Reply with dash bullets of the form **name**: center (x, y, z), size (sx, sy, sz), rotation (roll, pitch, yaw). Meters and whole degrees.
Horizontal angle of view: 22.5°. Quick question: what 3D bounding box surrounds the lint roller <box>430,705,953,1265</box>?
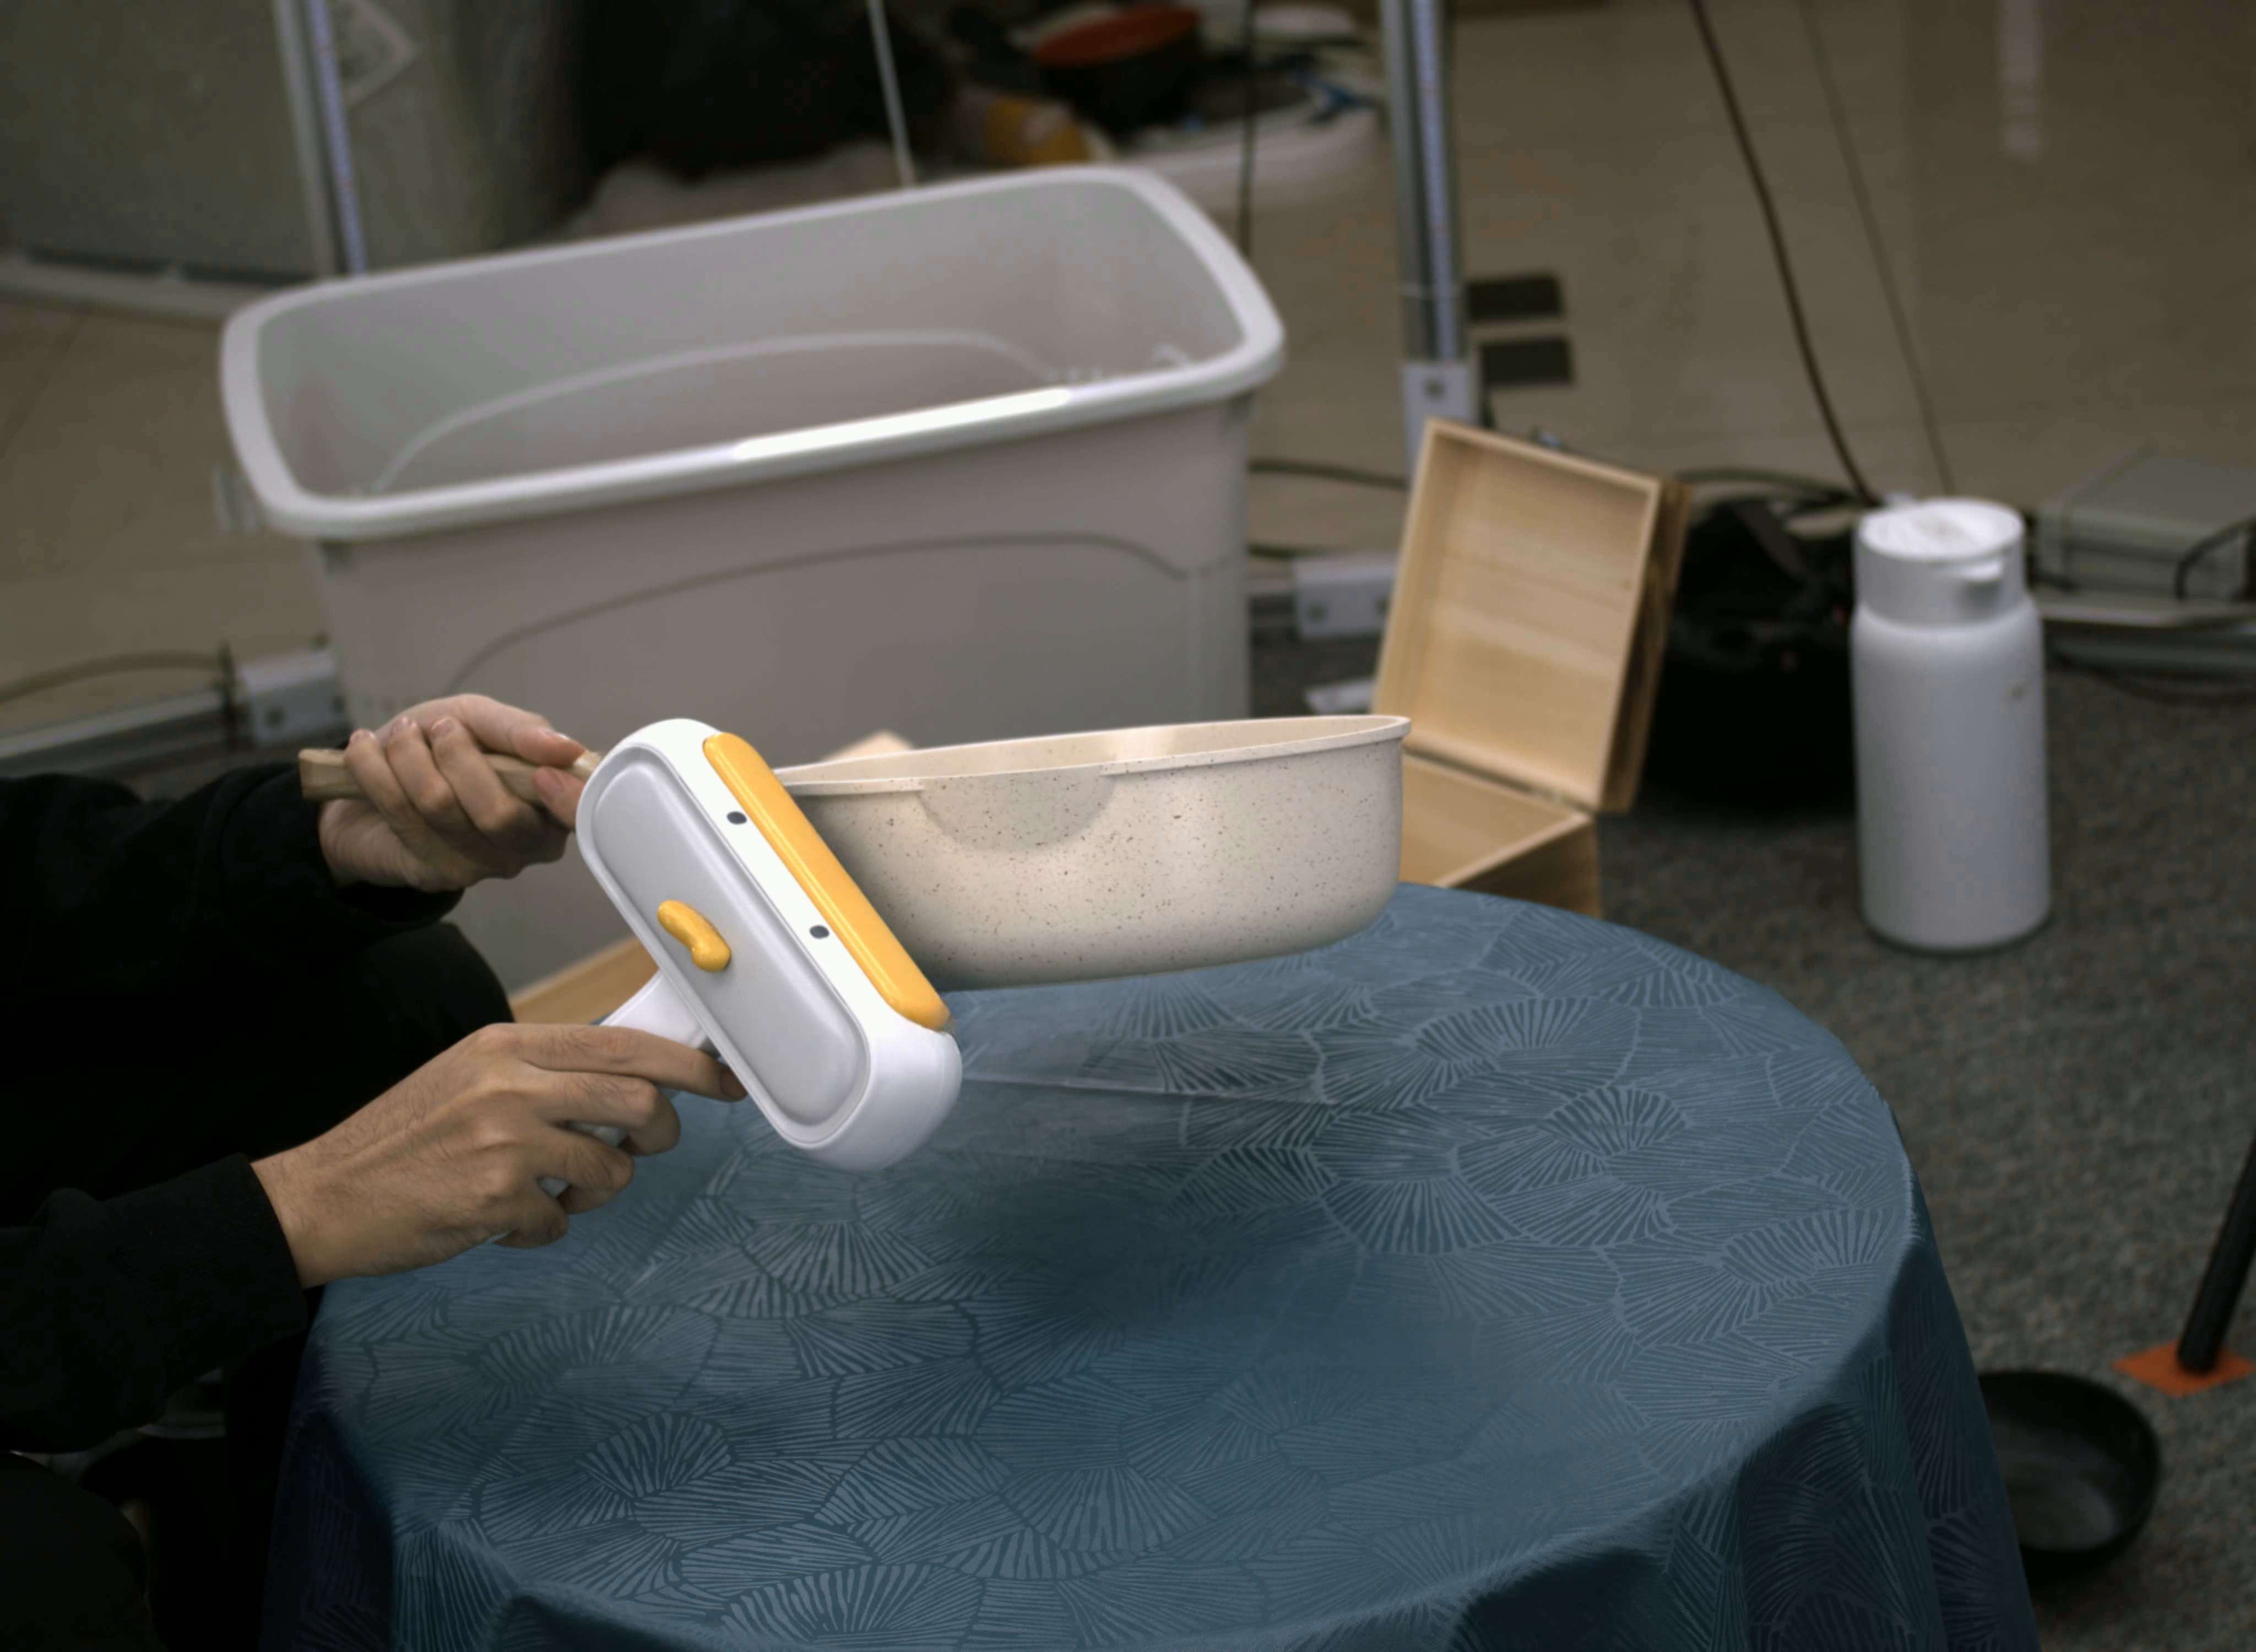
- **lint roller**: center (-0.174, 0.079, 2.031), size (0.191, 0.194, 0.074), rotation (47, 18, 23)

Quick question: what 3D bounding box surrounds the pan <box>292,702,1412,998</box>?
- **pan**: center (-0.105, 0.009, 2.157), size (0.434, 0.102, 0.262), rotation (-5, 6, 11)
